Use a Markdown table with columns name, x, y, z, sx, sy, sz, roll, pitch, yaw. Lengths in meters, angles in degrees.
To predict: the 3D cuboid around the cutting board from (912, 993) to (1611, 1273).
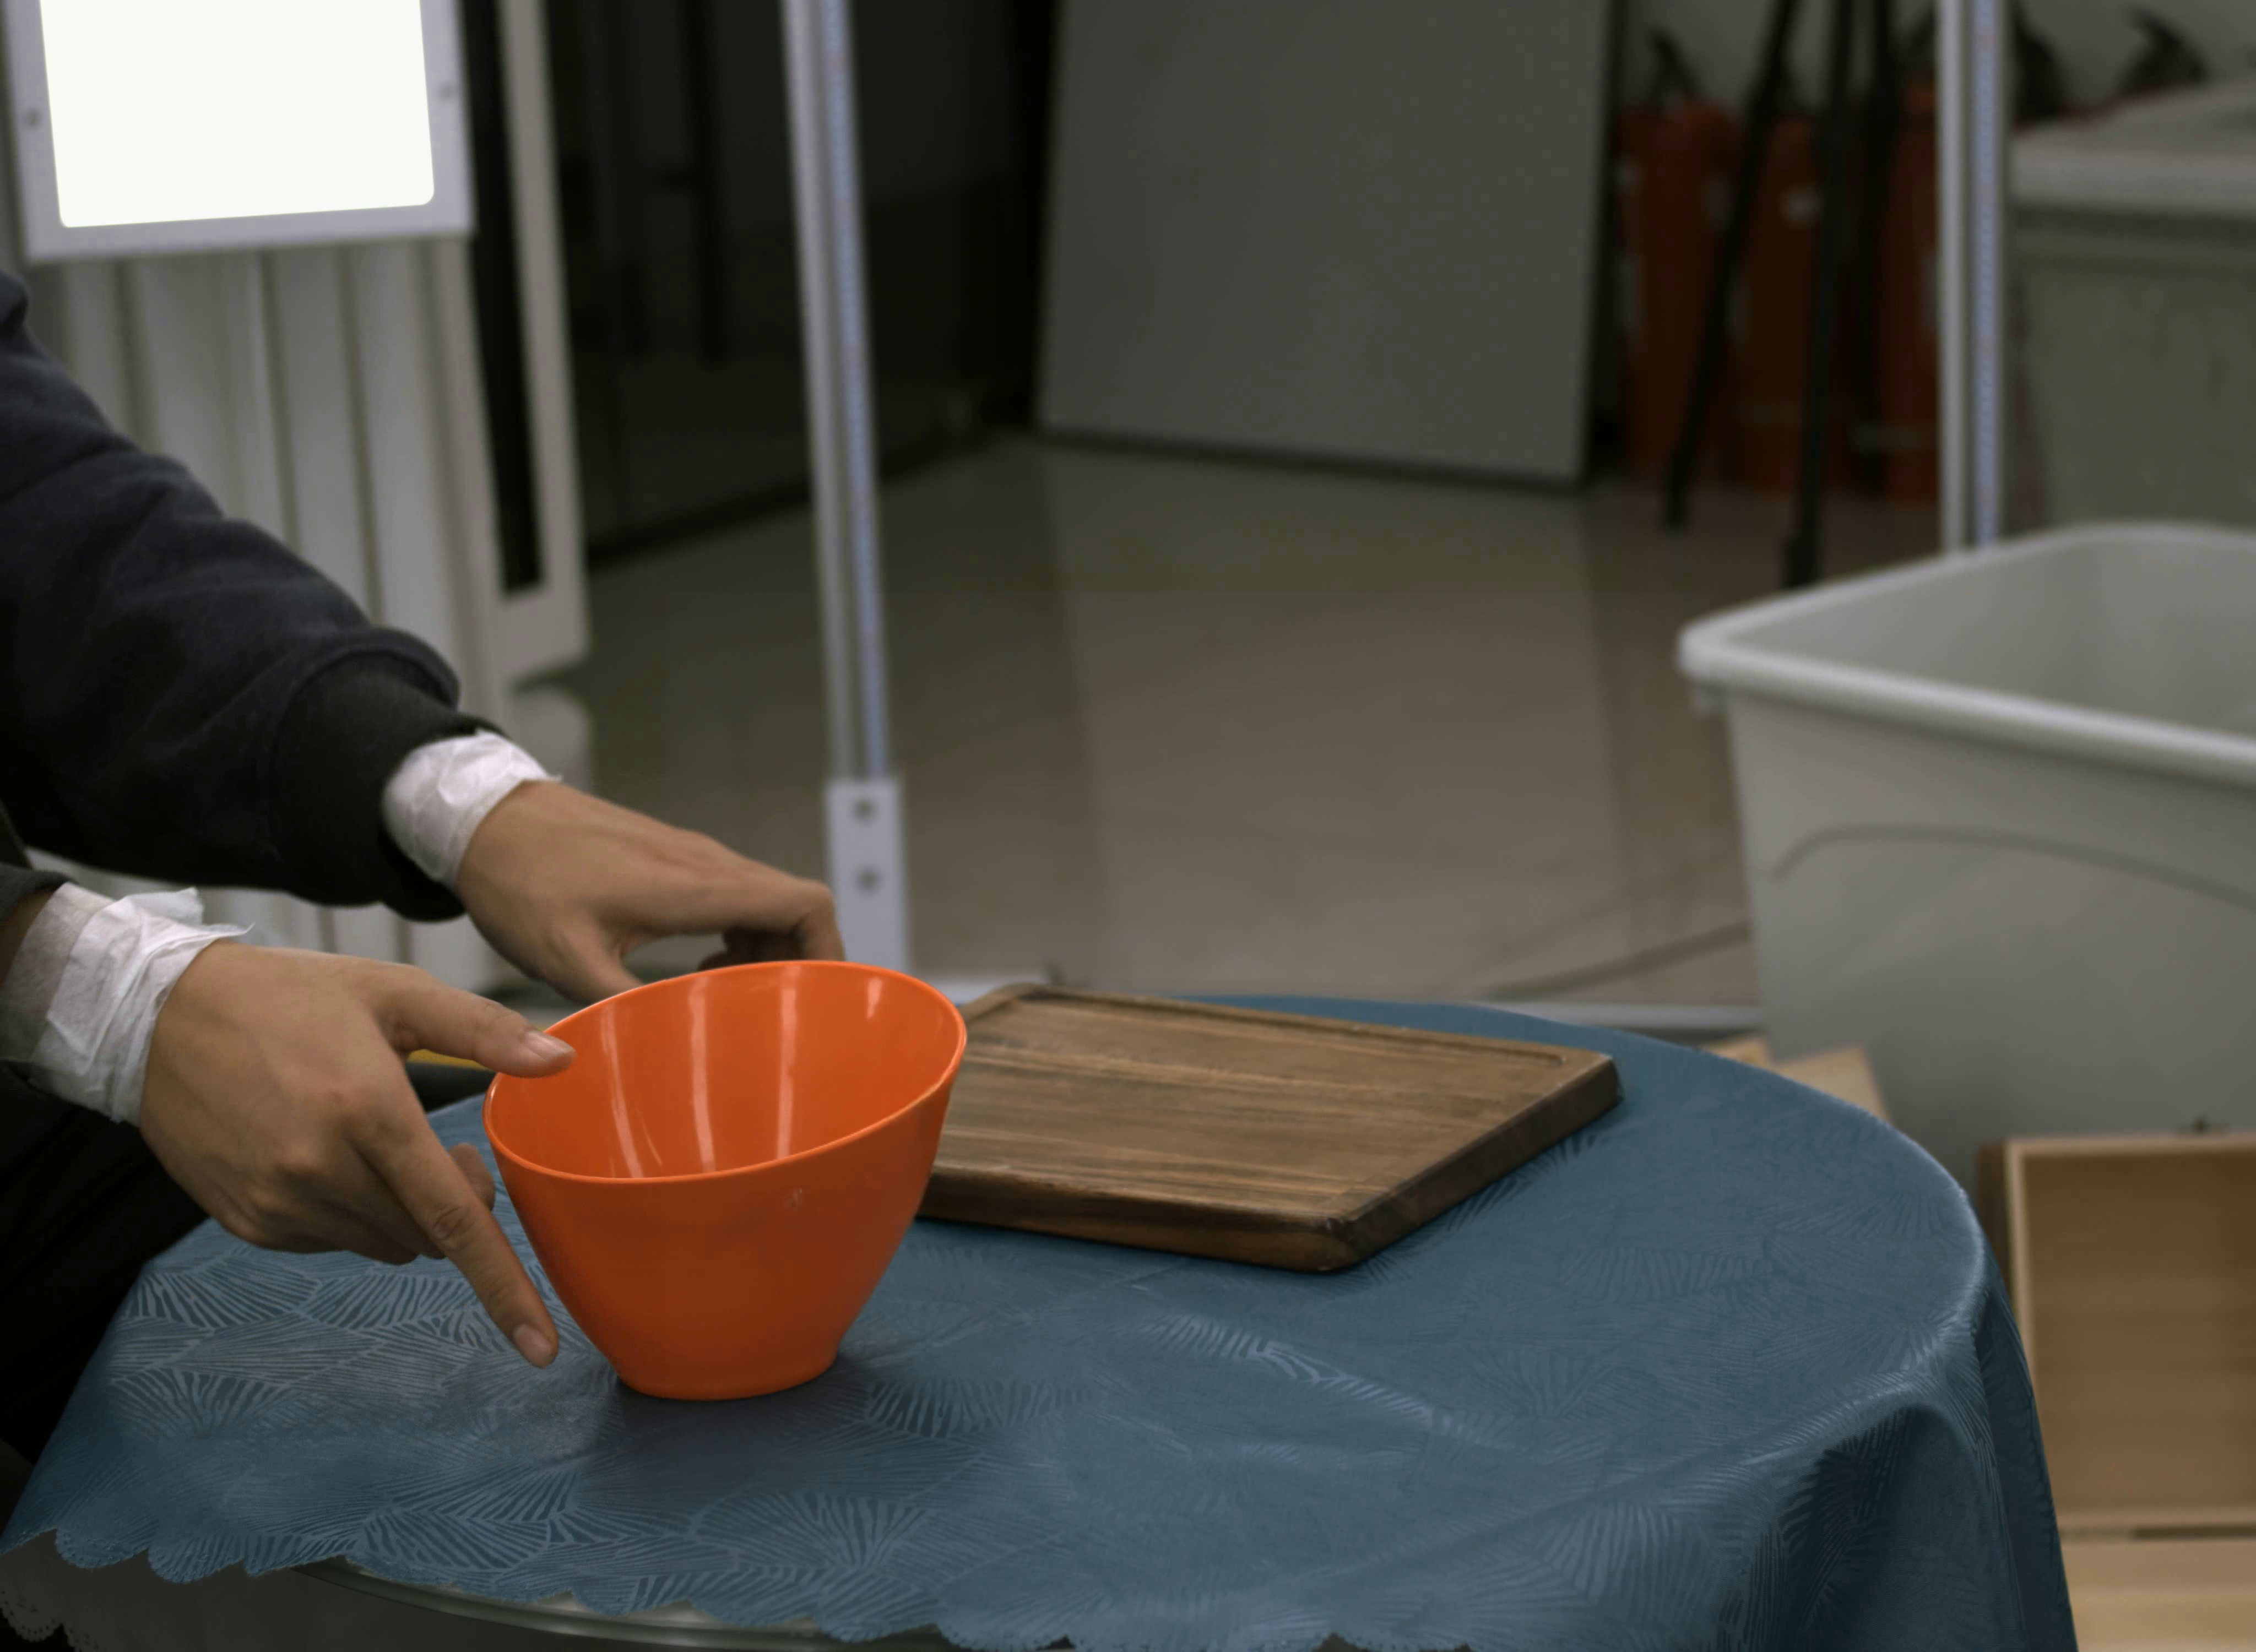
| name | x | y | z | sx | sy | sz | roll | pitch | yaw |
| --- | --- | --- | --- | --- | --- | --- | --- | --- | --- |
| cutting board | -0.029 | 0.096 | 1.840 | 0.354 | 0.023 | 0.198 | 5 | 16 | 33 |

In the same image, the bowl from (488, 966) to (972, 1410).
| name | x | y | z | sx | sy | sz | roll | pitch | yaw |
| --- | --- | --- | --- | --- | --- | --- | --- | --- | --- |
| bowl | -0.116 | 0.112 | 1.627 | 0.146 | 0.106 | 0.148 | -4 | 13 | 0 |
